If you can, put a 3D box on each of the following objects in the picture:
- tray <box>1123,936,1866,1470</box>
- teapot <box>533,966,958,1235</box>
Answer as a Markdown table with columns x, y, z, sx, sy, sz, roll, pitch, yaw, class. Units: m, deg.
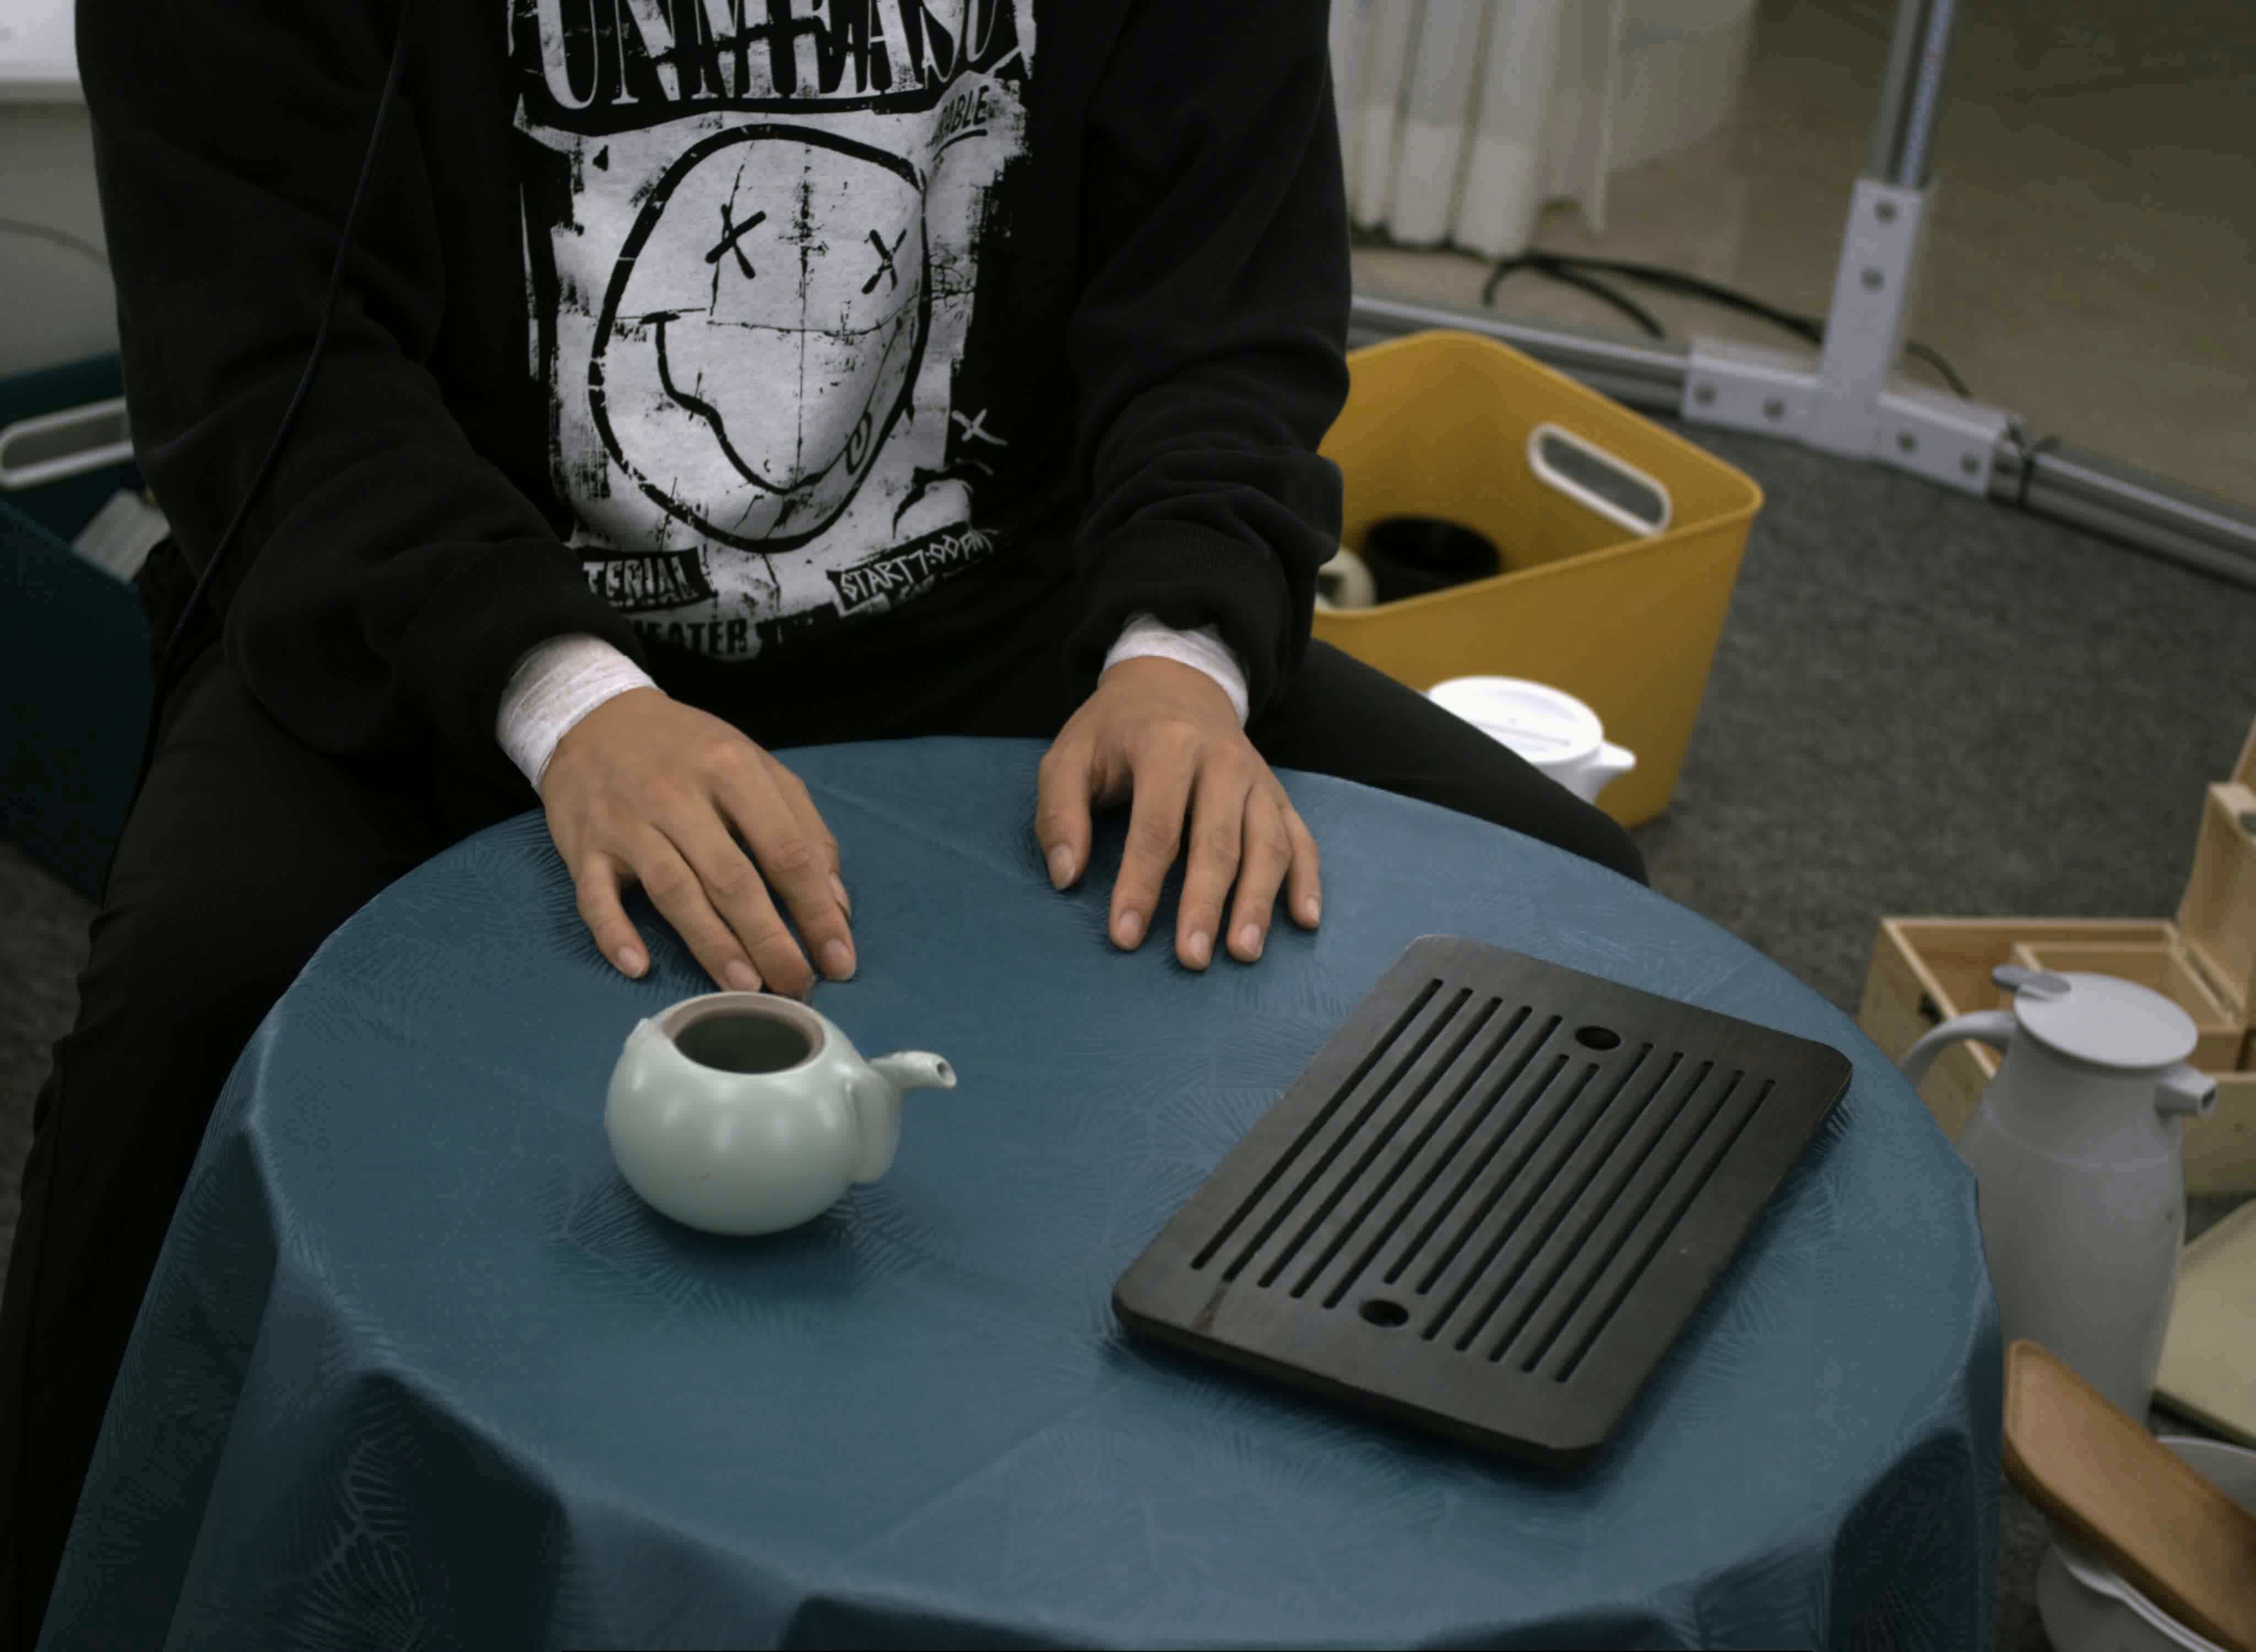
| x | y | z | sx | sy | sz | roll | pitch | yaw | class |
| --- | --- | --- | --- | --- | --- | --- | --- | --- | --- |
| 0.131 | 0.125 | 1.812 | 0.170 | 0.018 | 0.306 | 16 | 28 | 19 | tray |
| -0.128 | 0.093 | 1.756 | 0.144 | 0.074 | 0.088 | 14 | 28 | 11 | teapot |
